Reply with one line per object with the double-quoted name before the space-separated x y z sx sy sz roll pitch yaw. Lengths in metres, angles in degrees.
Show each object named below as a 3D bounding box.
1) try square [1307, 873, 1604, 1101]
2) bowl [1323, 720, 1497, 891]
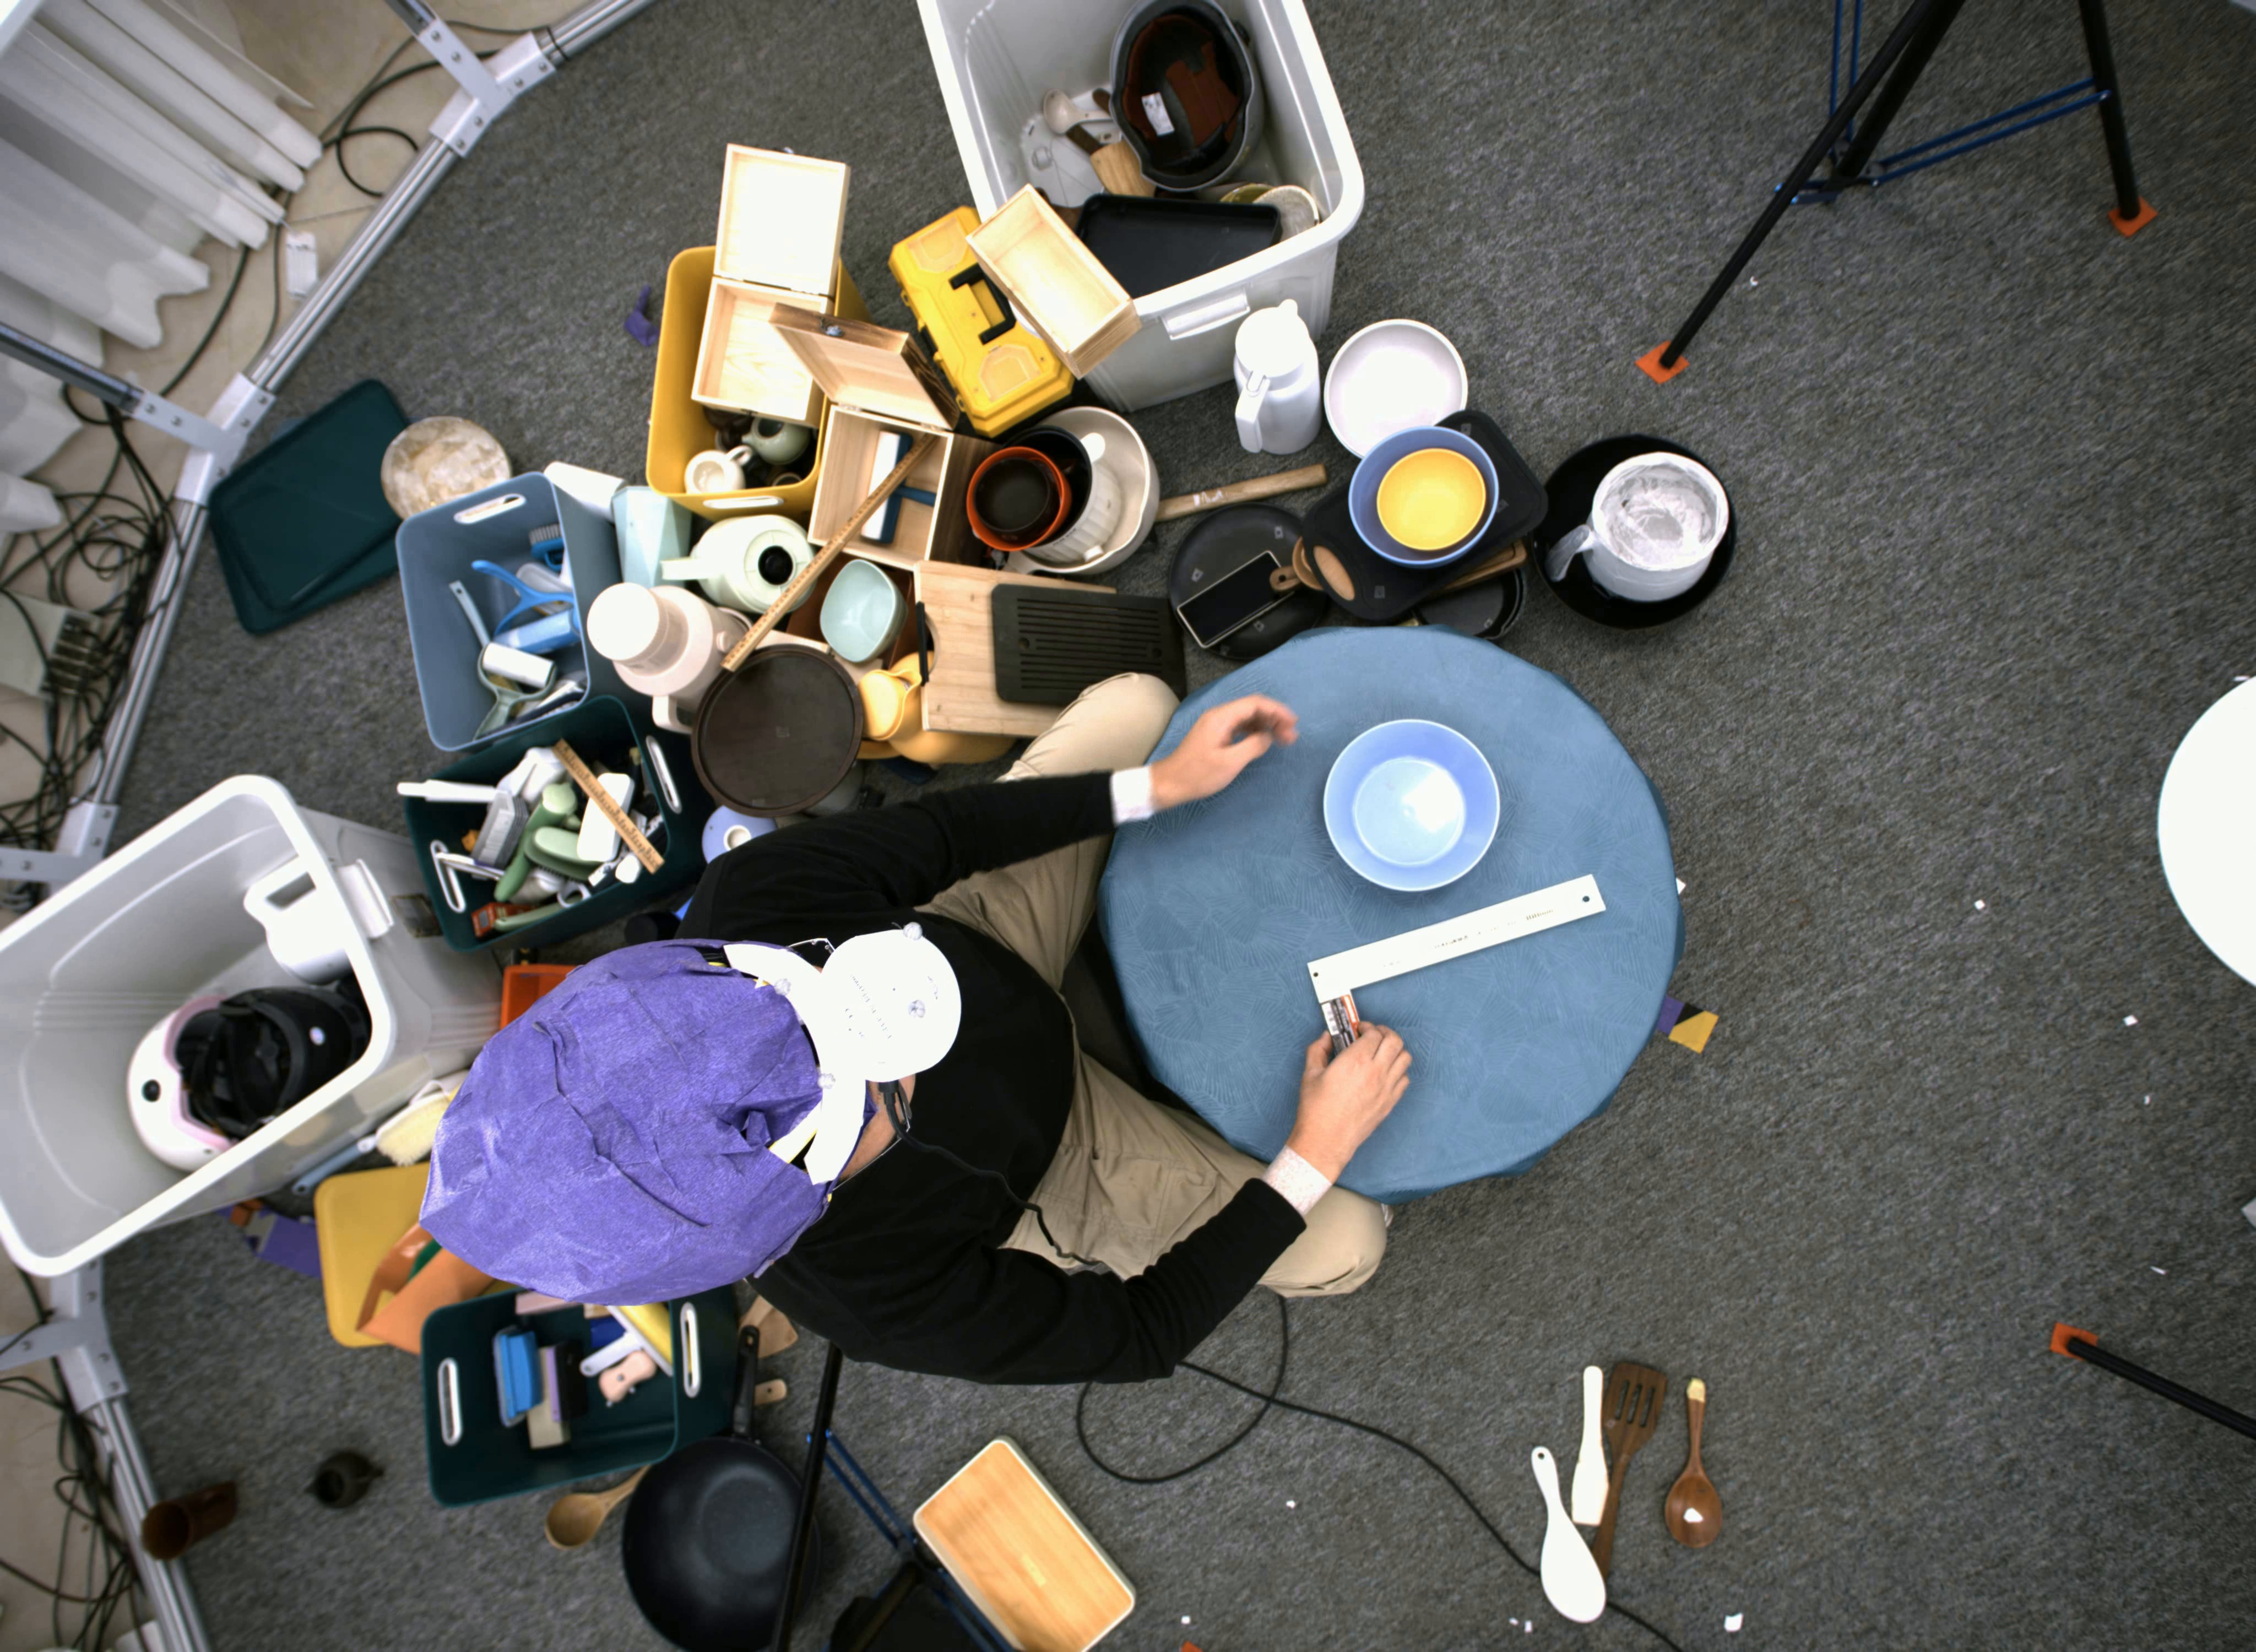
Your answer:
"try square" 0.353 0.164 1.424 0.314 0.016 0.150 -19 74 8
"bowl" 0.290 -0.020 1.426 0.177 0.070 0.175 -1 87 10
